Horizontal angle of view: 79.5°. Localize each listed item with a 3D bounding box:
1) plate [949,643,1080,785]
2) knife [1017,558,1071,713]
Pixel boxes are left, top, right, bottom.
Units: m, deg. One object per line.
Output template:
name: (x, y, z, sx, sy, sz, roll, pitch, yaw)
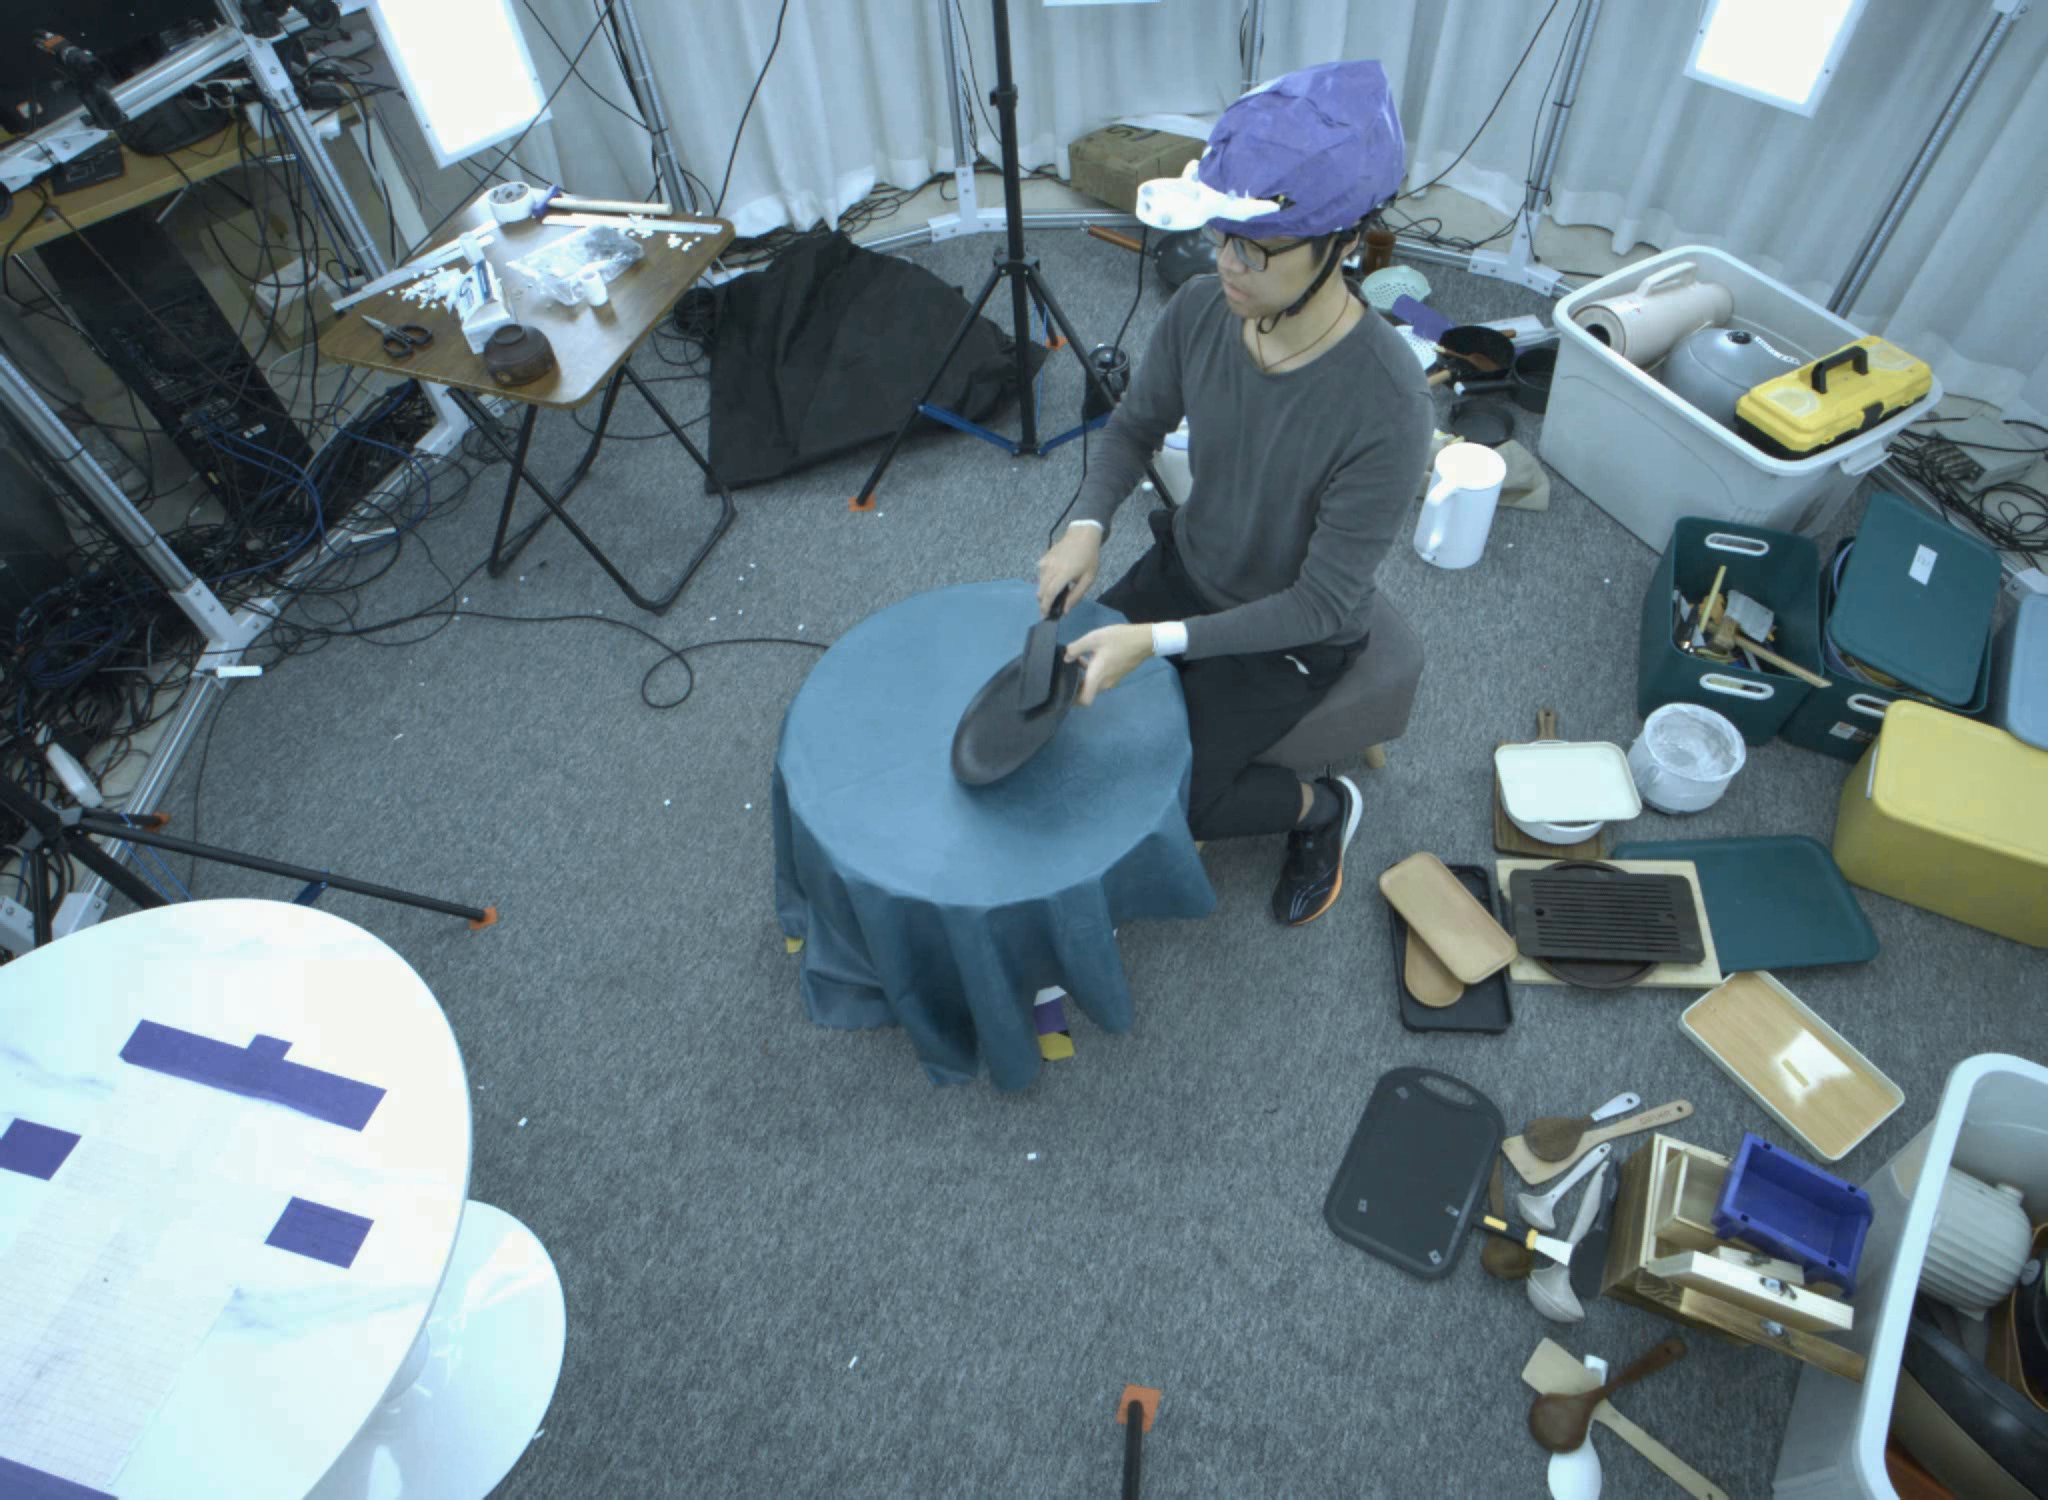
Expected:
plate: (-0.010, -0.049, 1.743, 0.242, 0.024, 0.242, -30, 37, 28)
knife: (0.031, -0.175, 1.806, 0.079, 0.021, 0.300, -20, 43, 36)
